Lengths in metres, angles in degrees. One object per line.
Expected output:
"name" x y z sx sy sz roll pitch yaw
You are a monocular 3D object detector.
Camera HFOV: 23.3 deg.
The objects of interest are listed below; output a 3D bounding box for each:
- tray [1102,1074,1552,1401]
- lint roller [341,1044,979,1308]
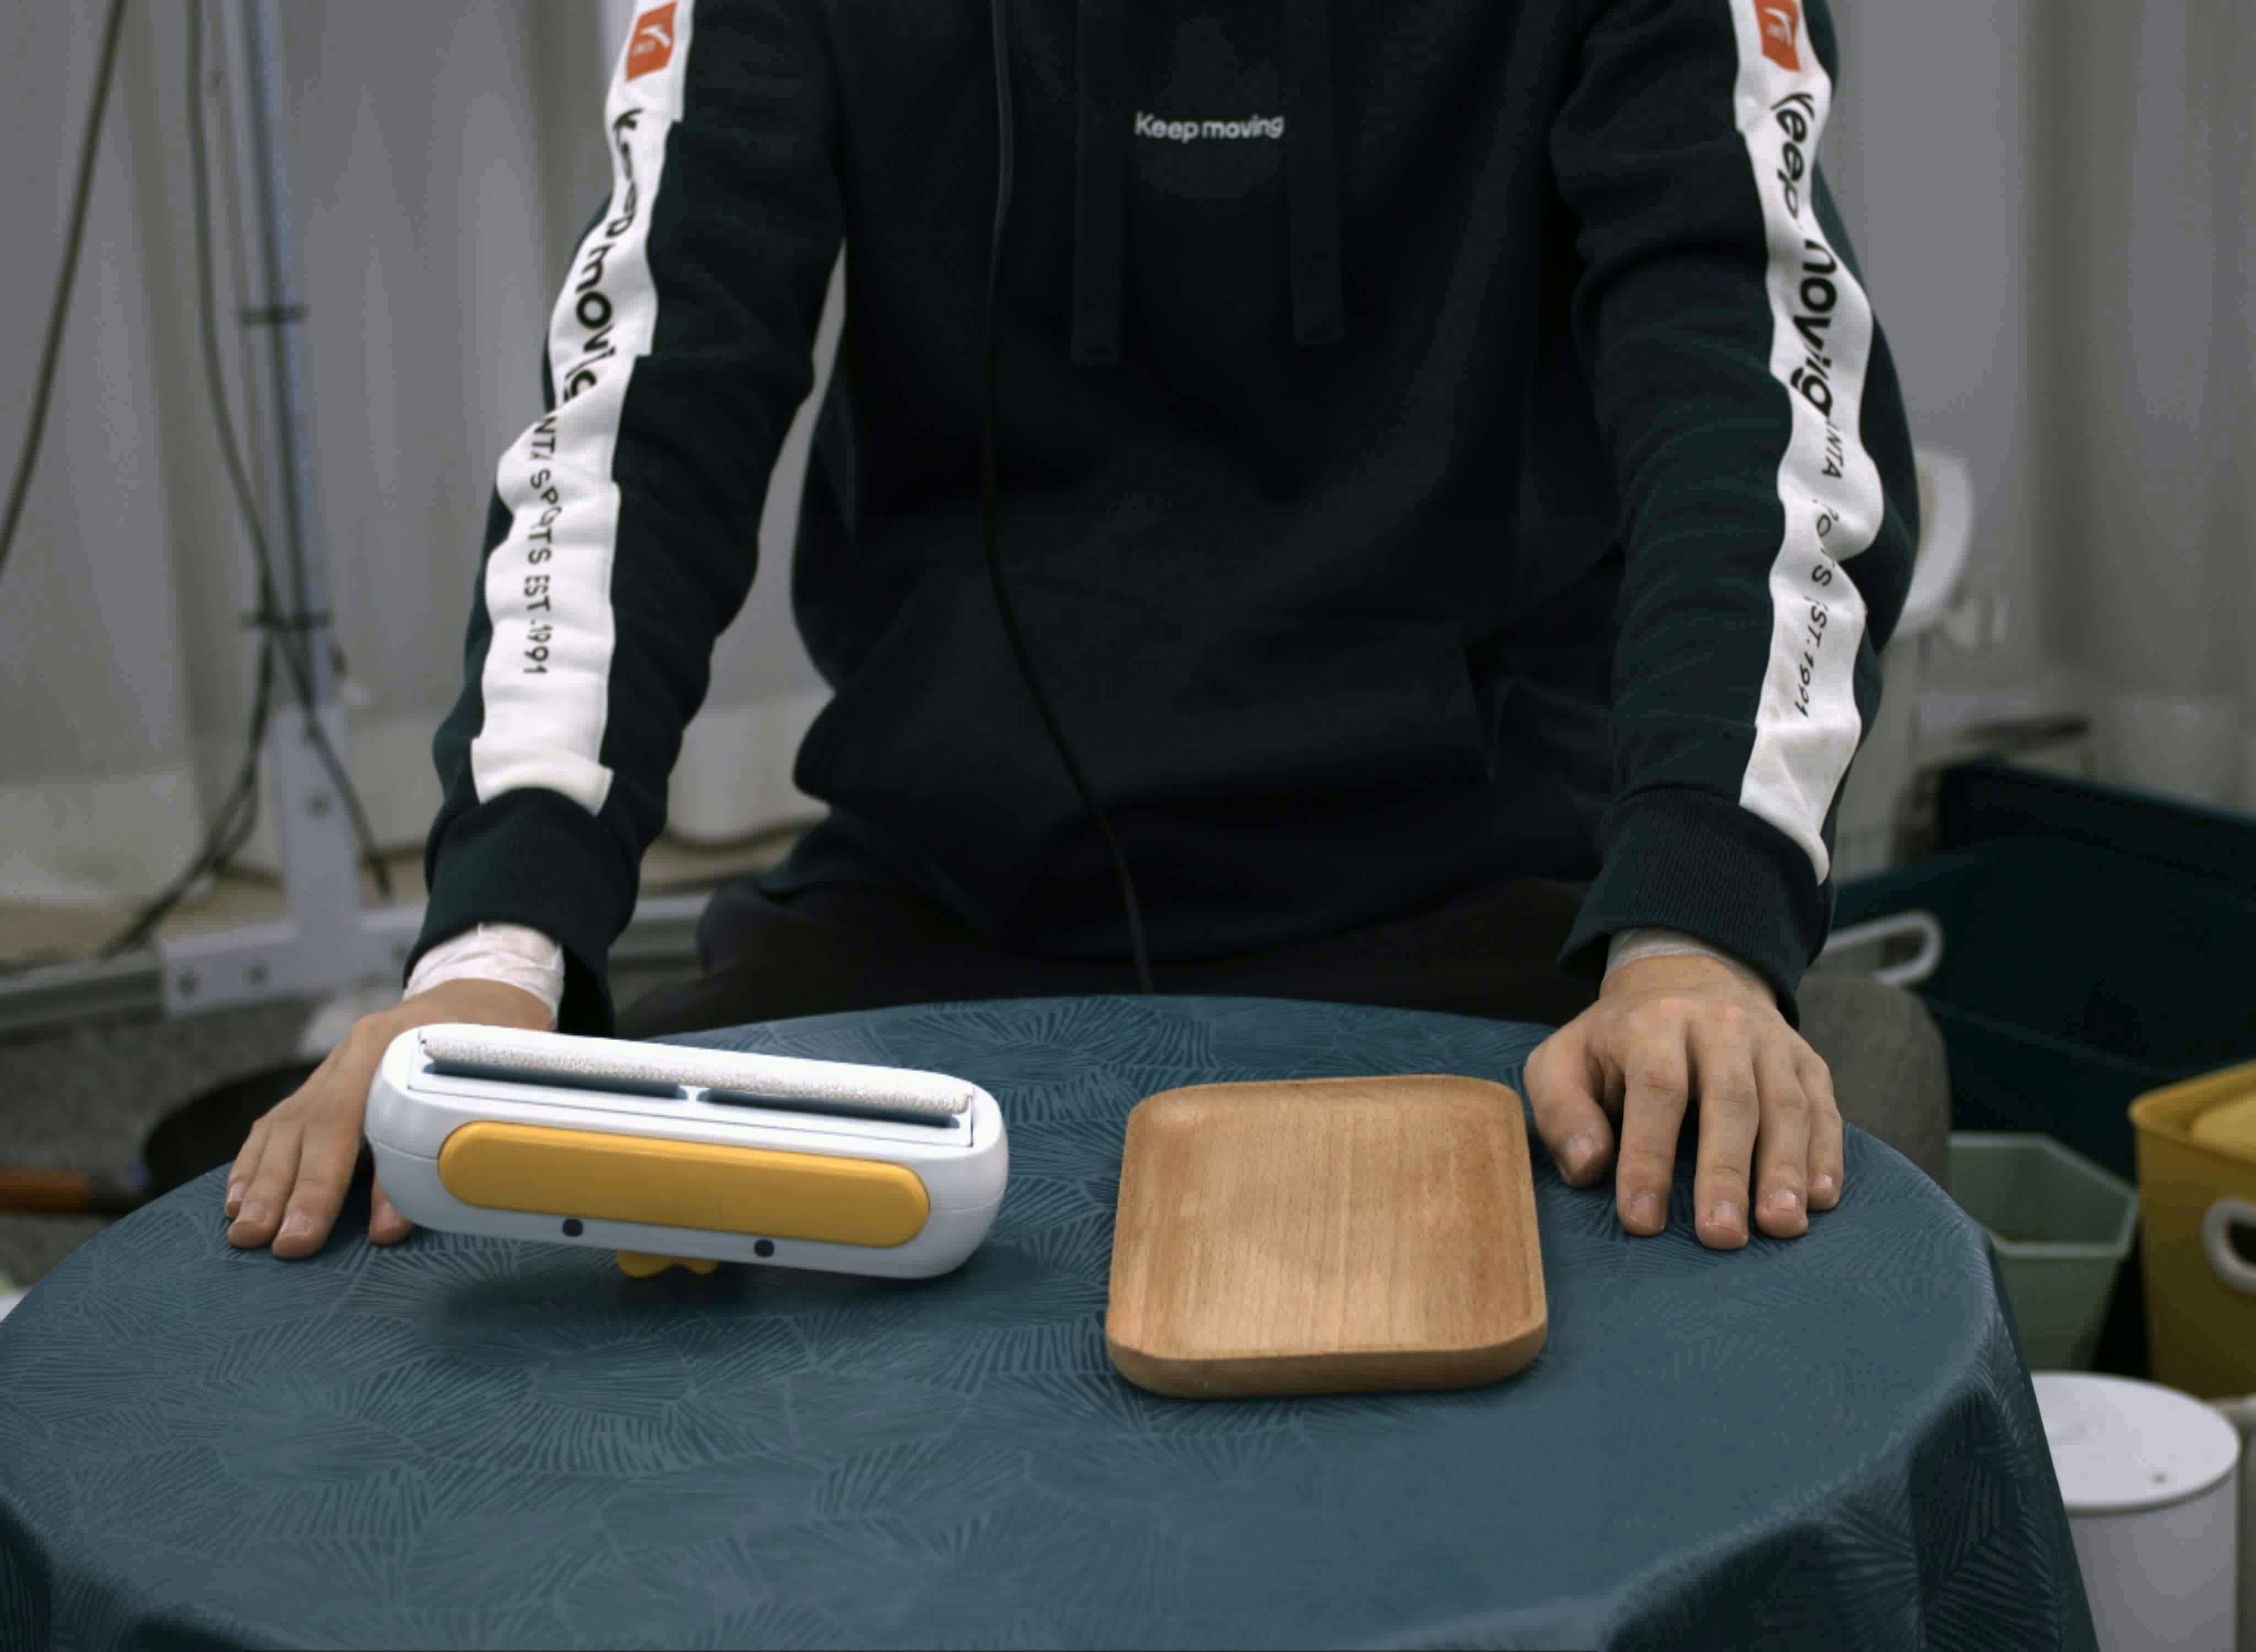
"tray" 0.060 0.121 1.646 0.130 0.023 0.252 0 15 3
"lint roller" -0.140 0.110 1.703 0.192 0.074 0.192 5 0 2
